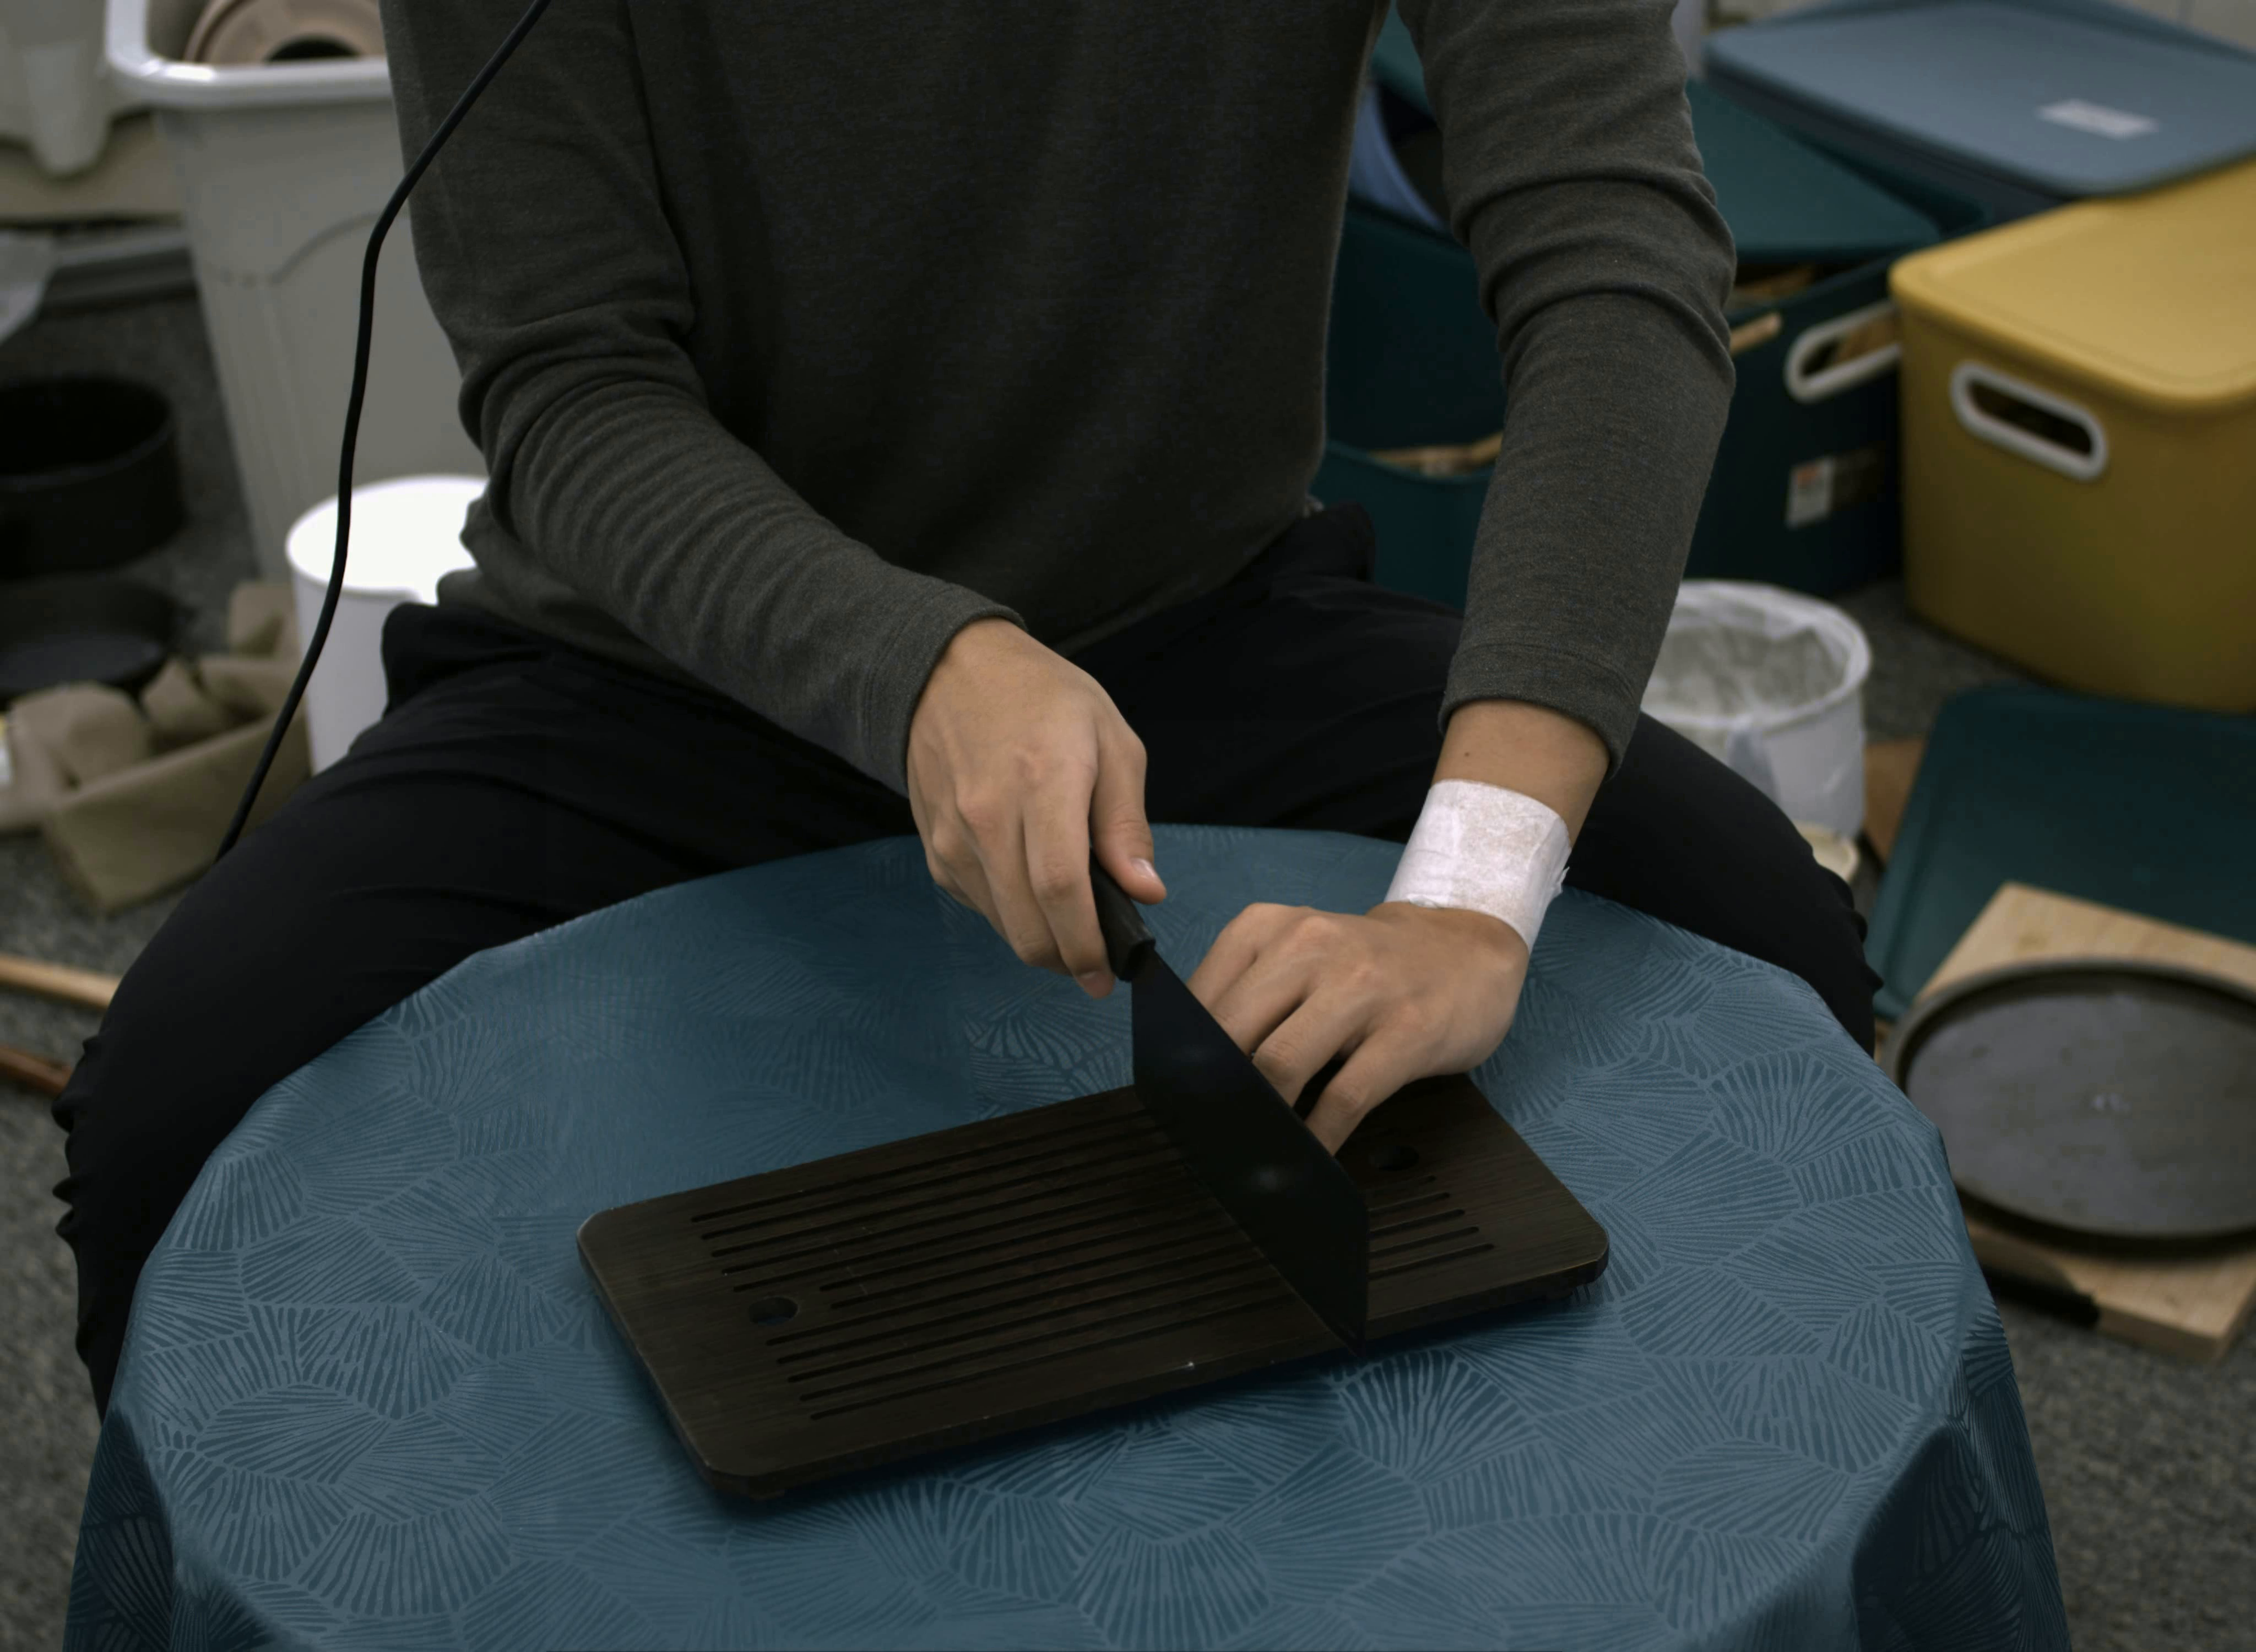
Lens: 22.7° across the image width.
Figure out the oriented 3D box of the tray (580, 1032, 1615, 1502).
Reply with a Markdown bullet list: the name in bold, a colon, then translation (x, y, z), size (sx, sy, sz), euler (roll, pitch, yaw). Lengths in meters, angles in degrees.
- **tray**: translation (-0.011, 0.140, 1.806), size (0.306, 0.018, 0.171), euler (-12, 28, -18)

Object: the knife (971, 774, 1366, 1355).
- **knife**: translation (0.012, 0.069, 1.835), size (0.021, 0.080, 0.305), euler (-10, 35, -21)
